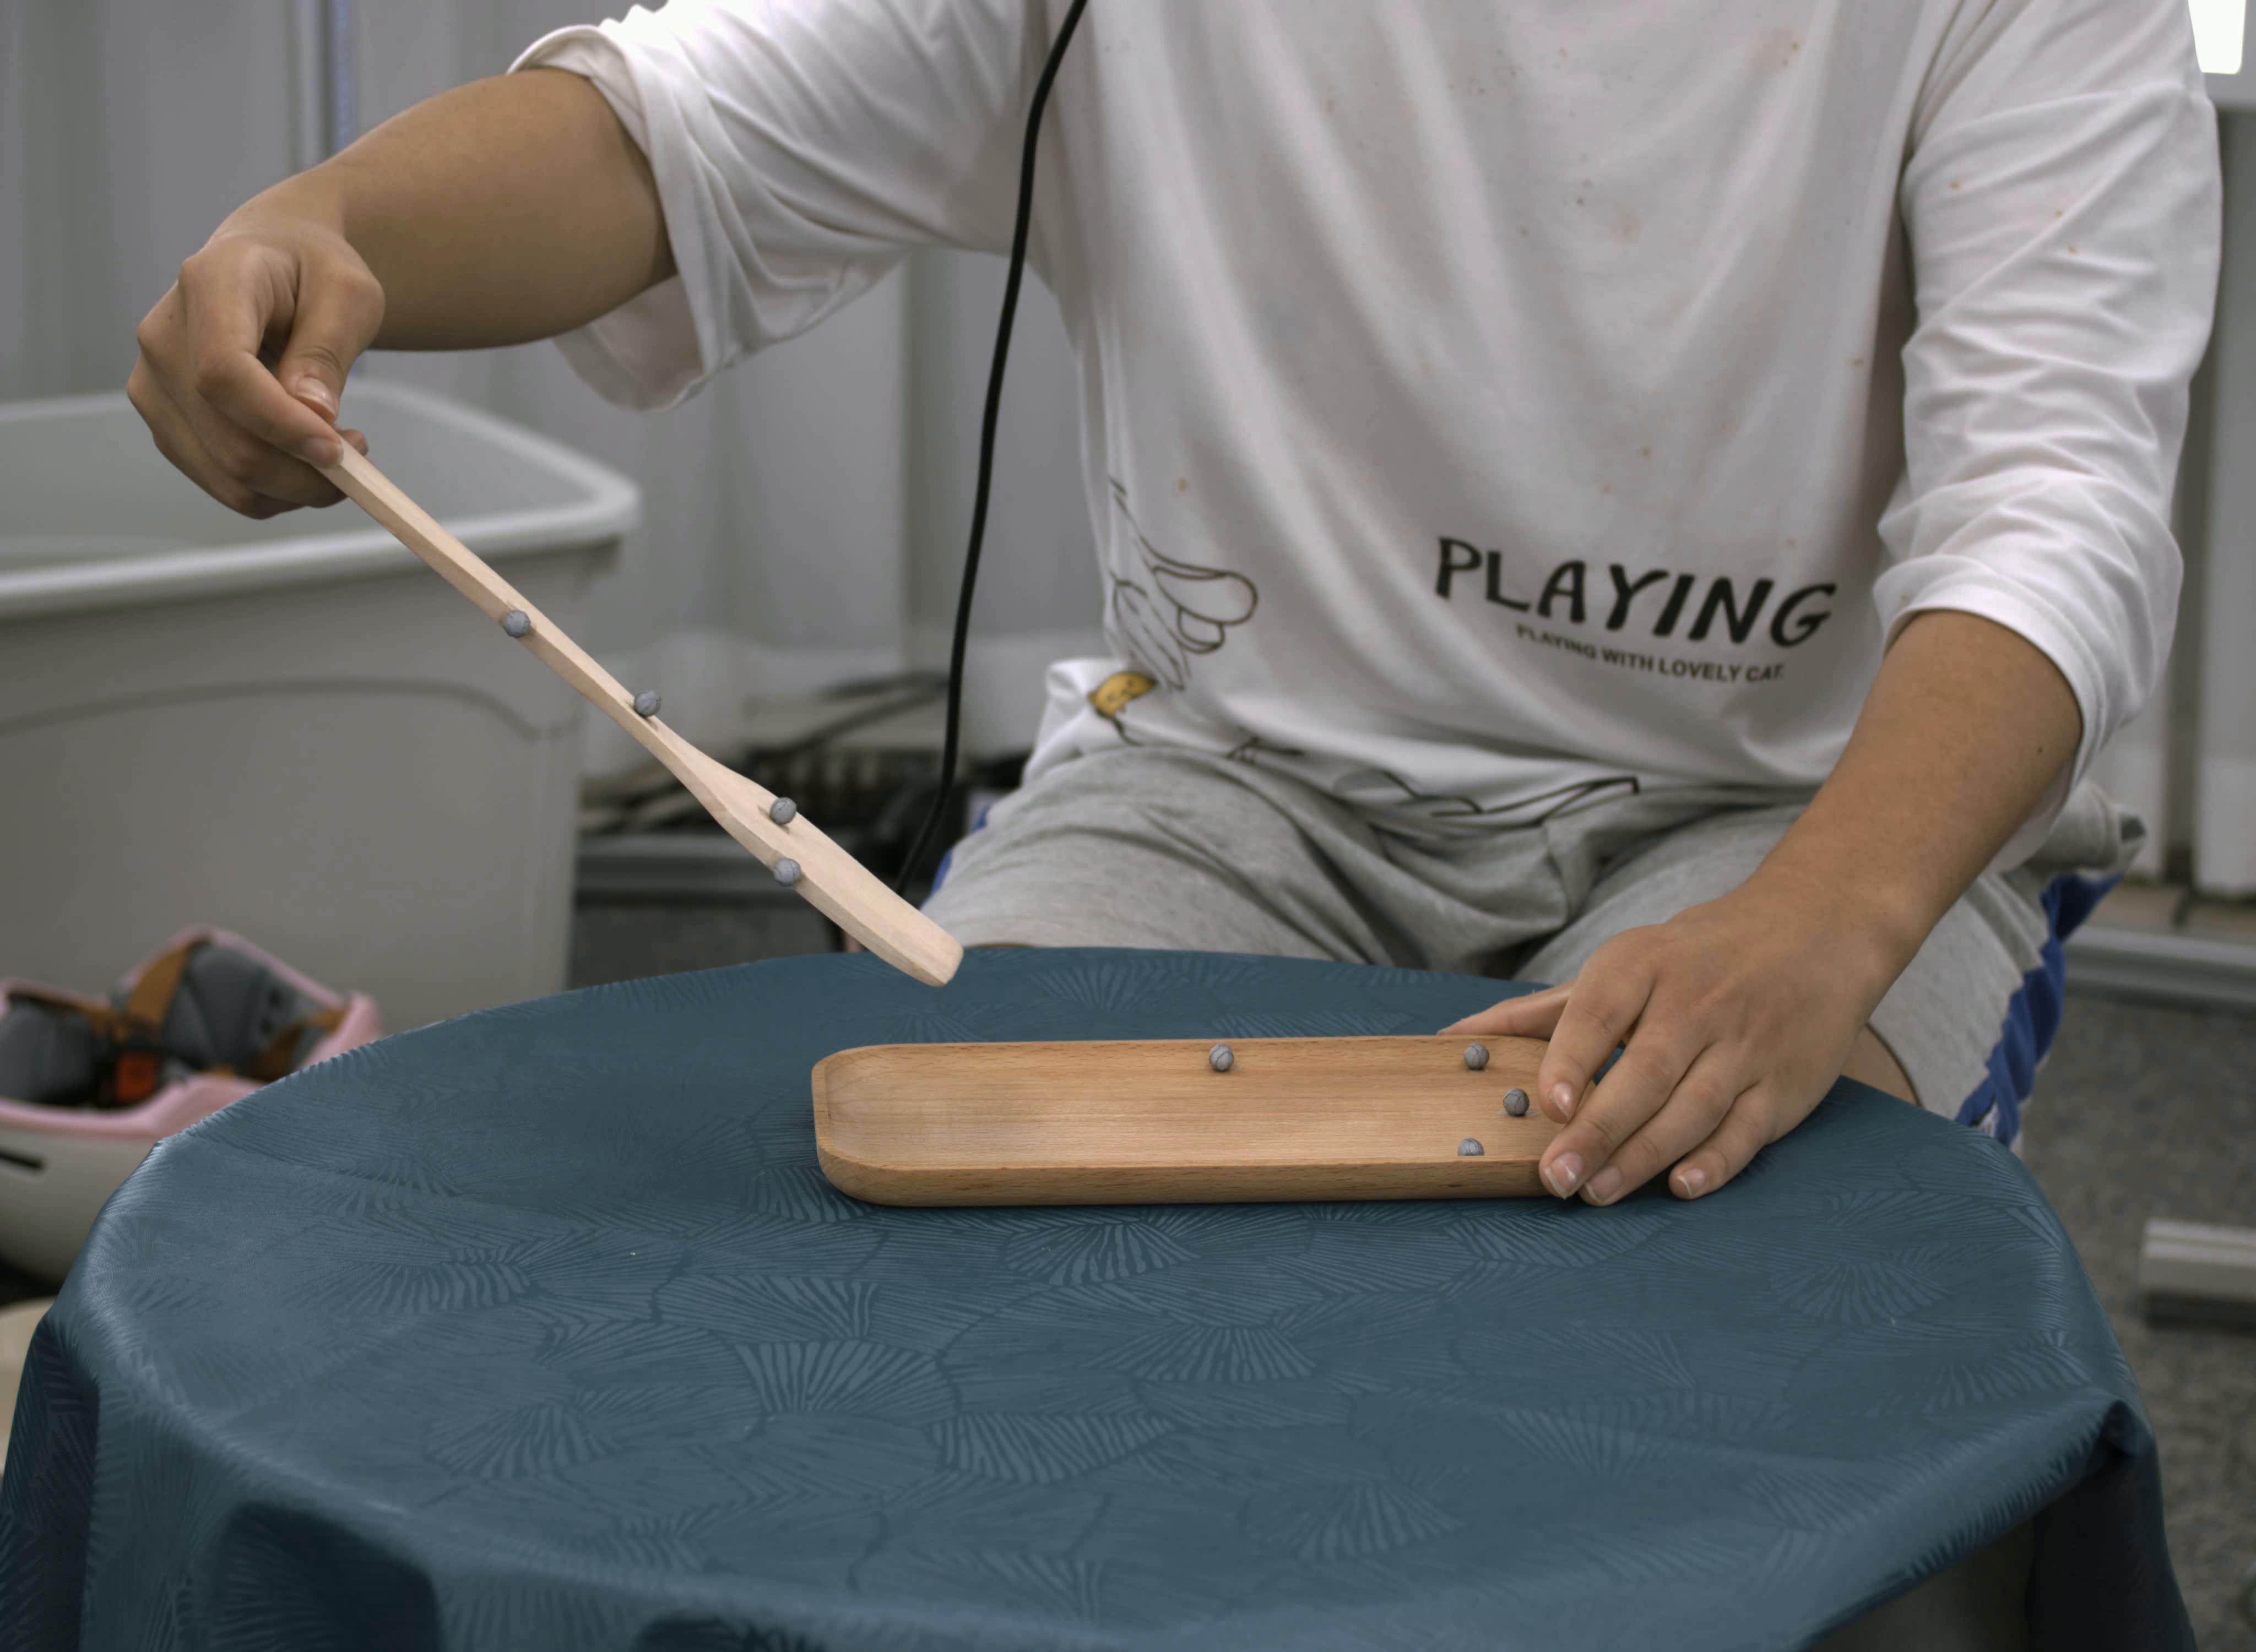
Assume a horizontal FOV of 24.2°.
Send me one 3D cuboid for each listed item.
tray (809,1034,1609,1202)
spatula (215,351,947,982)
[{"bbox_3d":[0.024,0.093,1.674,0.250,0.023,0.130,-1,13,-4],"label":"tray"},{"bbox_3d":[-0.171,-0.050,1.635,0.293,0.010,0.072,41,9,-4],"label":"spatula"}]
